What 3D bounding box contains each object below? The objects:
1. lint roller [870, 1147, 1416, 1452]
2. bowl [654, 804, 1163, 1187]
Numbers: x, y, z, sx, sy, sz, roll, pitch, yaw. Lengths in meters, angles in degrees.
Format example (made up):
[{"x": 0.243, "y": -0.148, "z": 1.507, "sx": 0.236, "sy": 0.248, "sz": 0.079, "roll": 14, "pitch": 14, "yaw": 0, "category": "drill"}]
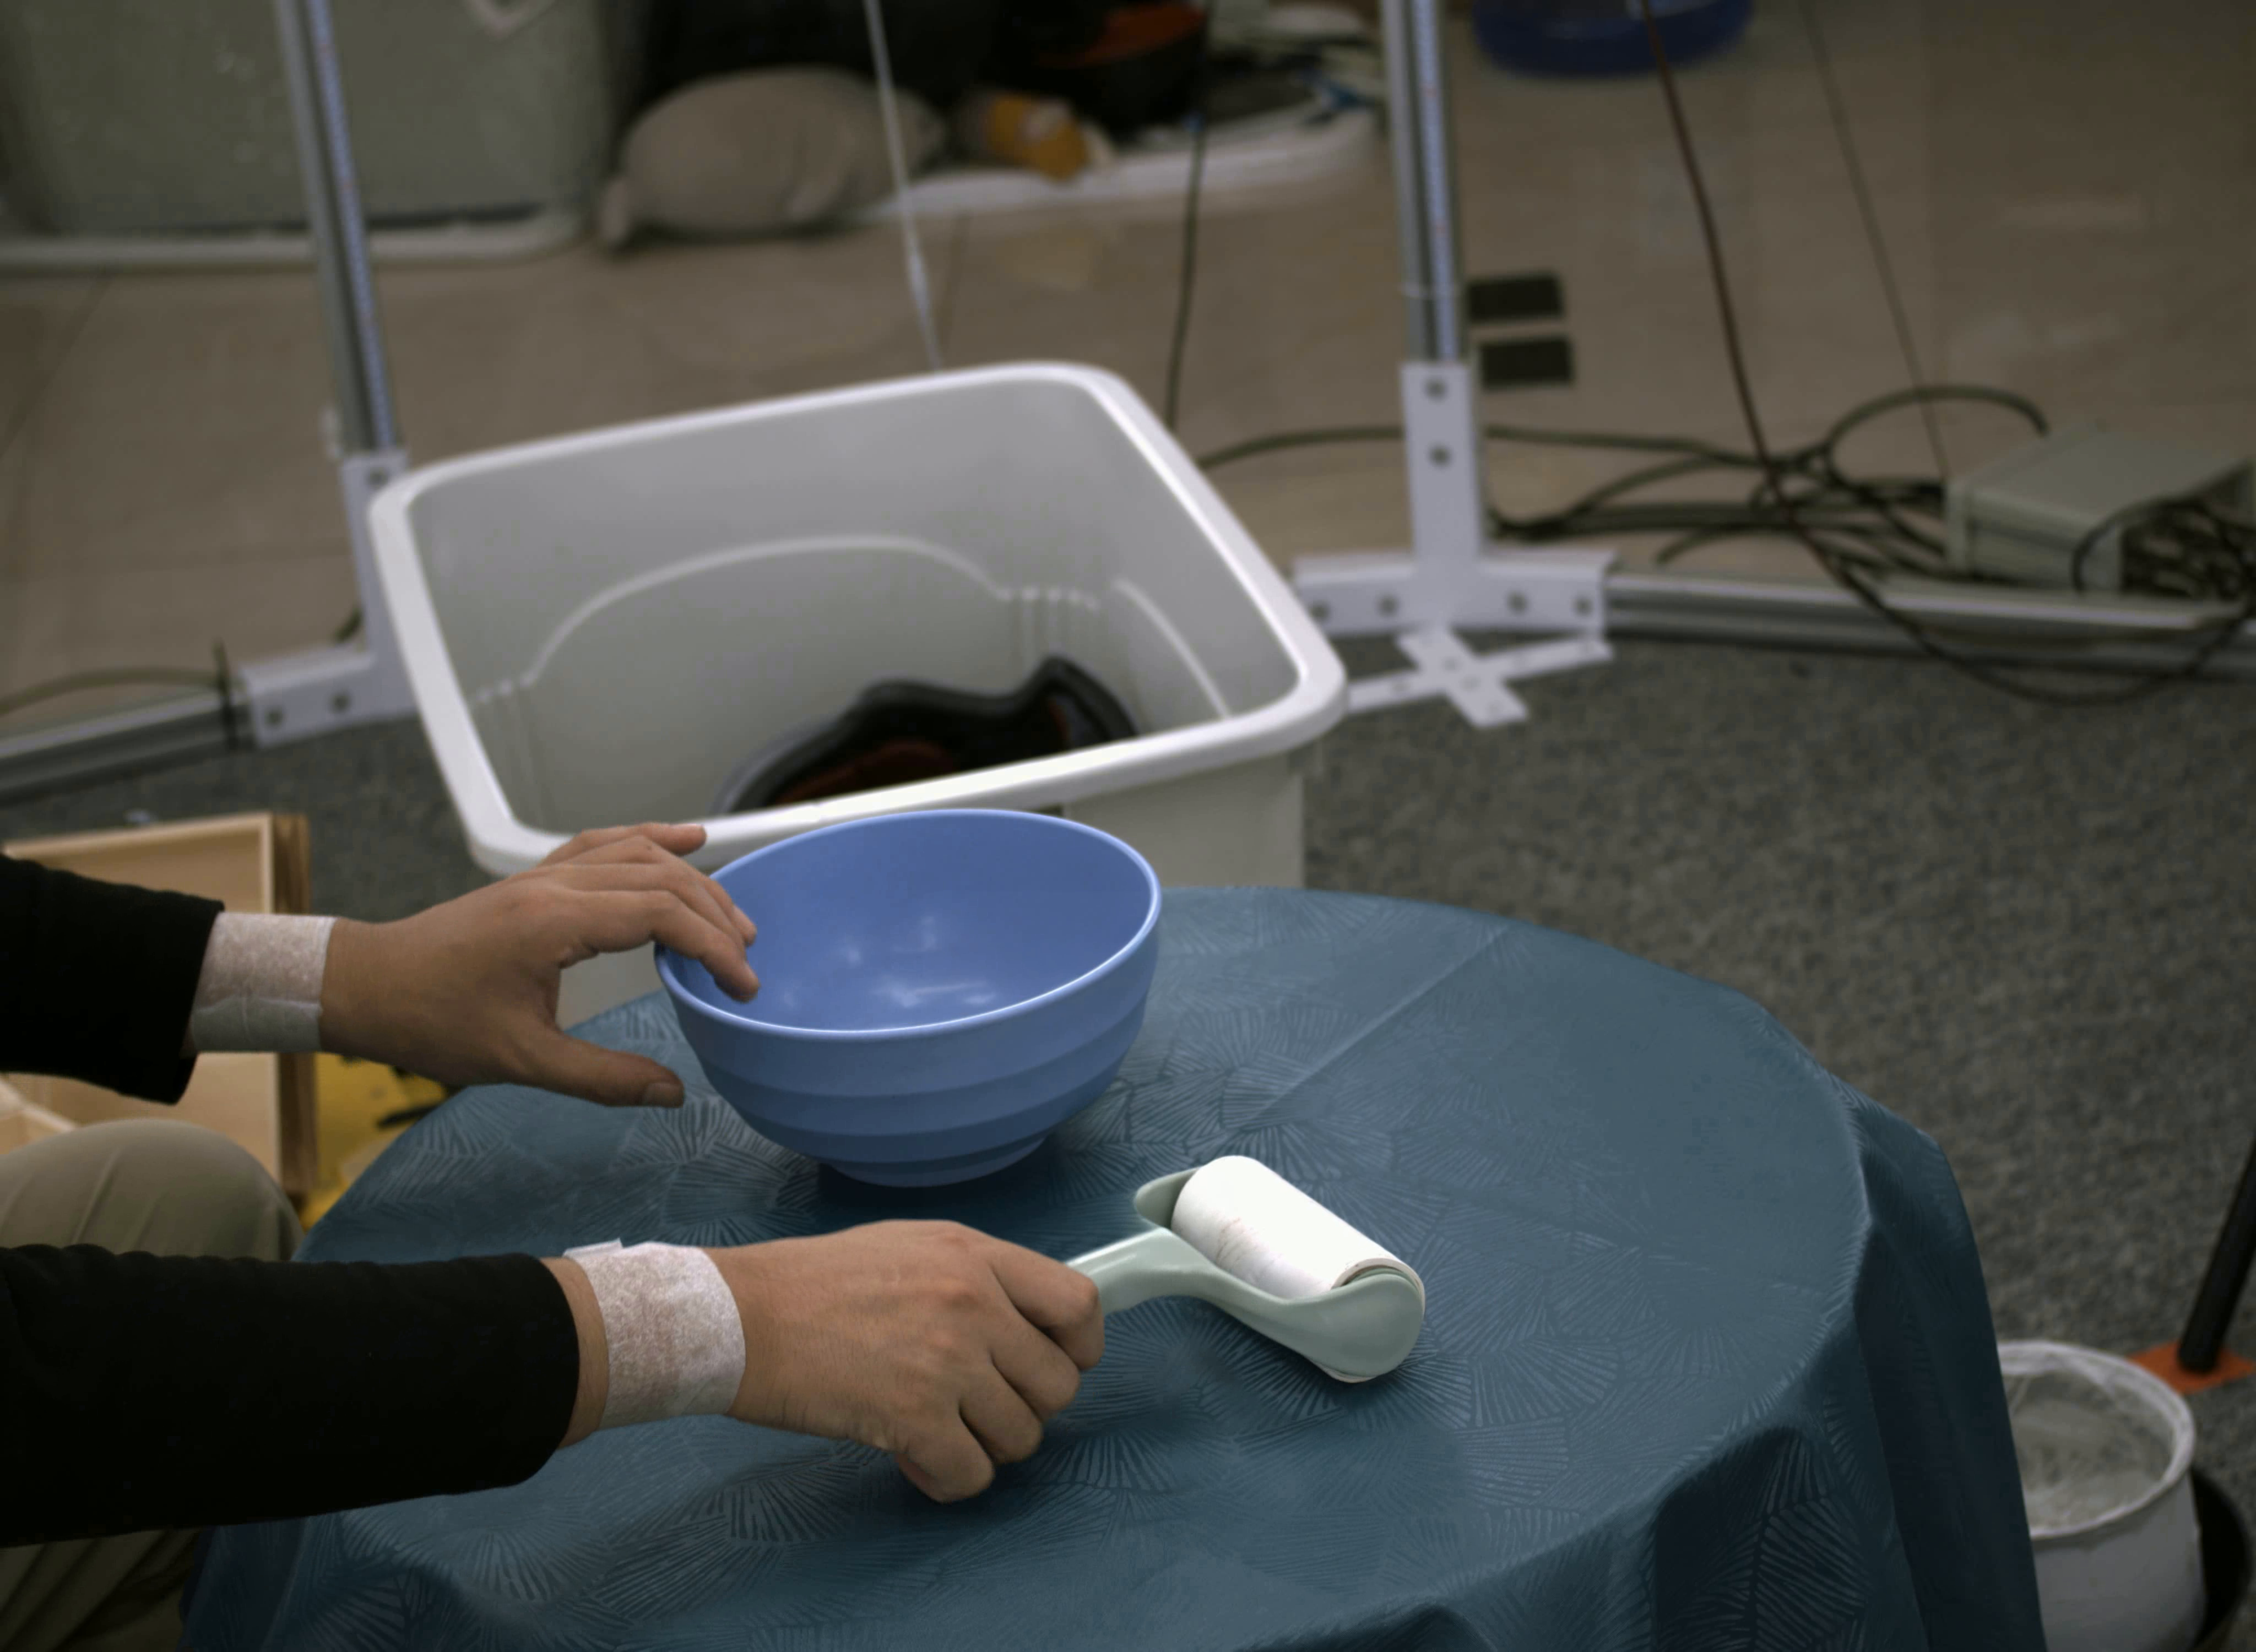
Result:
[{"x": -0.007, "y": 0.171, "z": 2.007, "sx": 0.196, "sy": 0.049, "sz": 0.115, "roll": -14, "pitch": 27, "yaw": -28, "category": "lint roller"}, {"x": -0.080, "y": 0.076, "z": 2.187, "sx": 0.196, "sy": 0.097, "sz": 0.193, "roll": -5, "pitch": 26, "yaw": 2, "category": "bowl"}]
